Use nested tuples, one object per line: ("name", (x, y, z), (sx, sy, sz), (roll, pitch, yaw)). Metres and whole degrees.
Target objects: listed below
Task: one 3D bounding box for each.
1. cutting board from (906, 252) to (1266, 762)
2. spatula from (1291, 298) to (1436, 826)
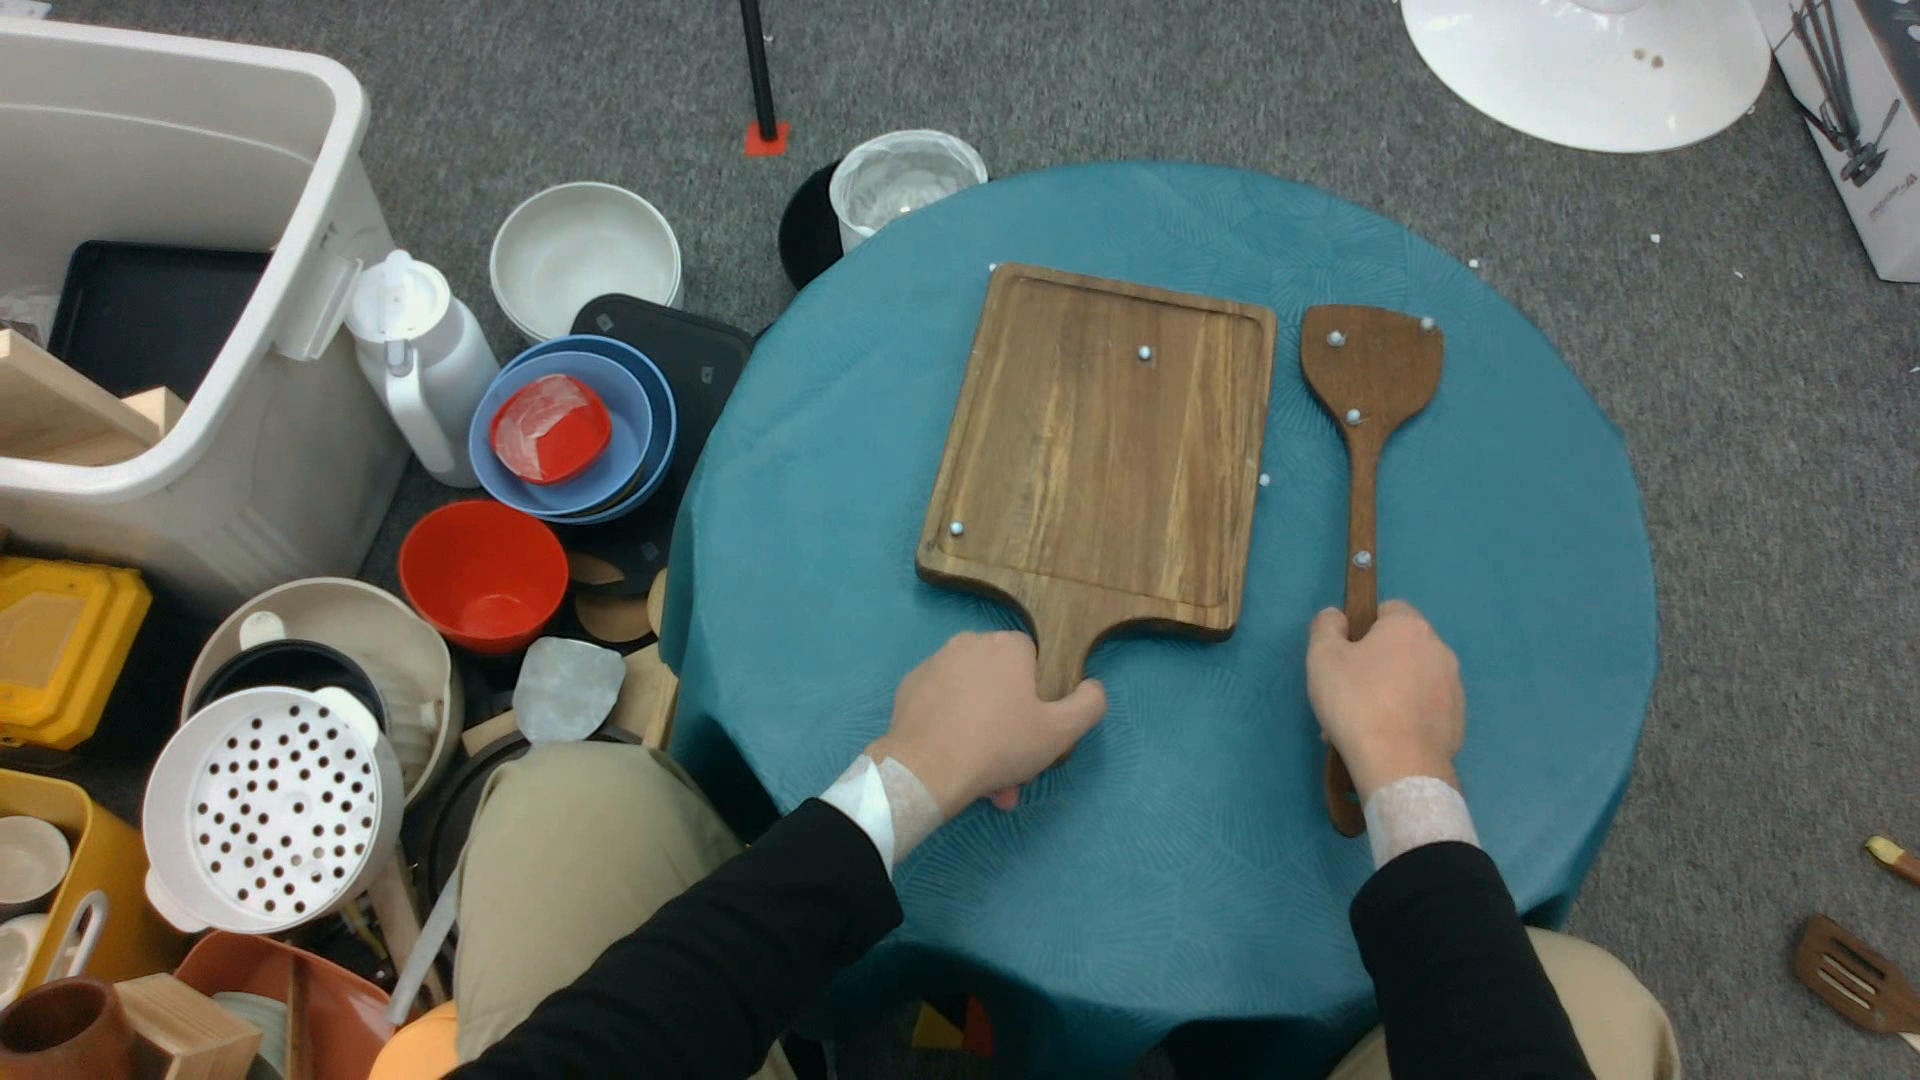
("cutting board", (0.077, -0.030, 0.849), (0.201, 0.023, 0.354), (11, 60, 4))
("spatula", (0.240, -0.007, 0.836), (0.096, 0.016, 0.388), (10, 56, 4))
